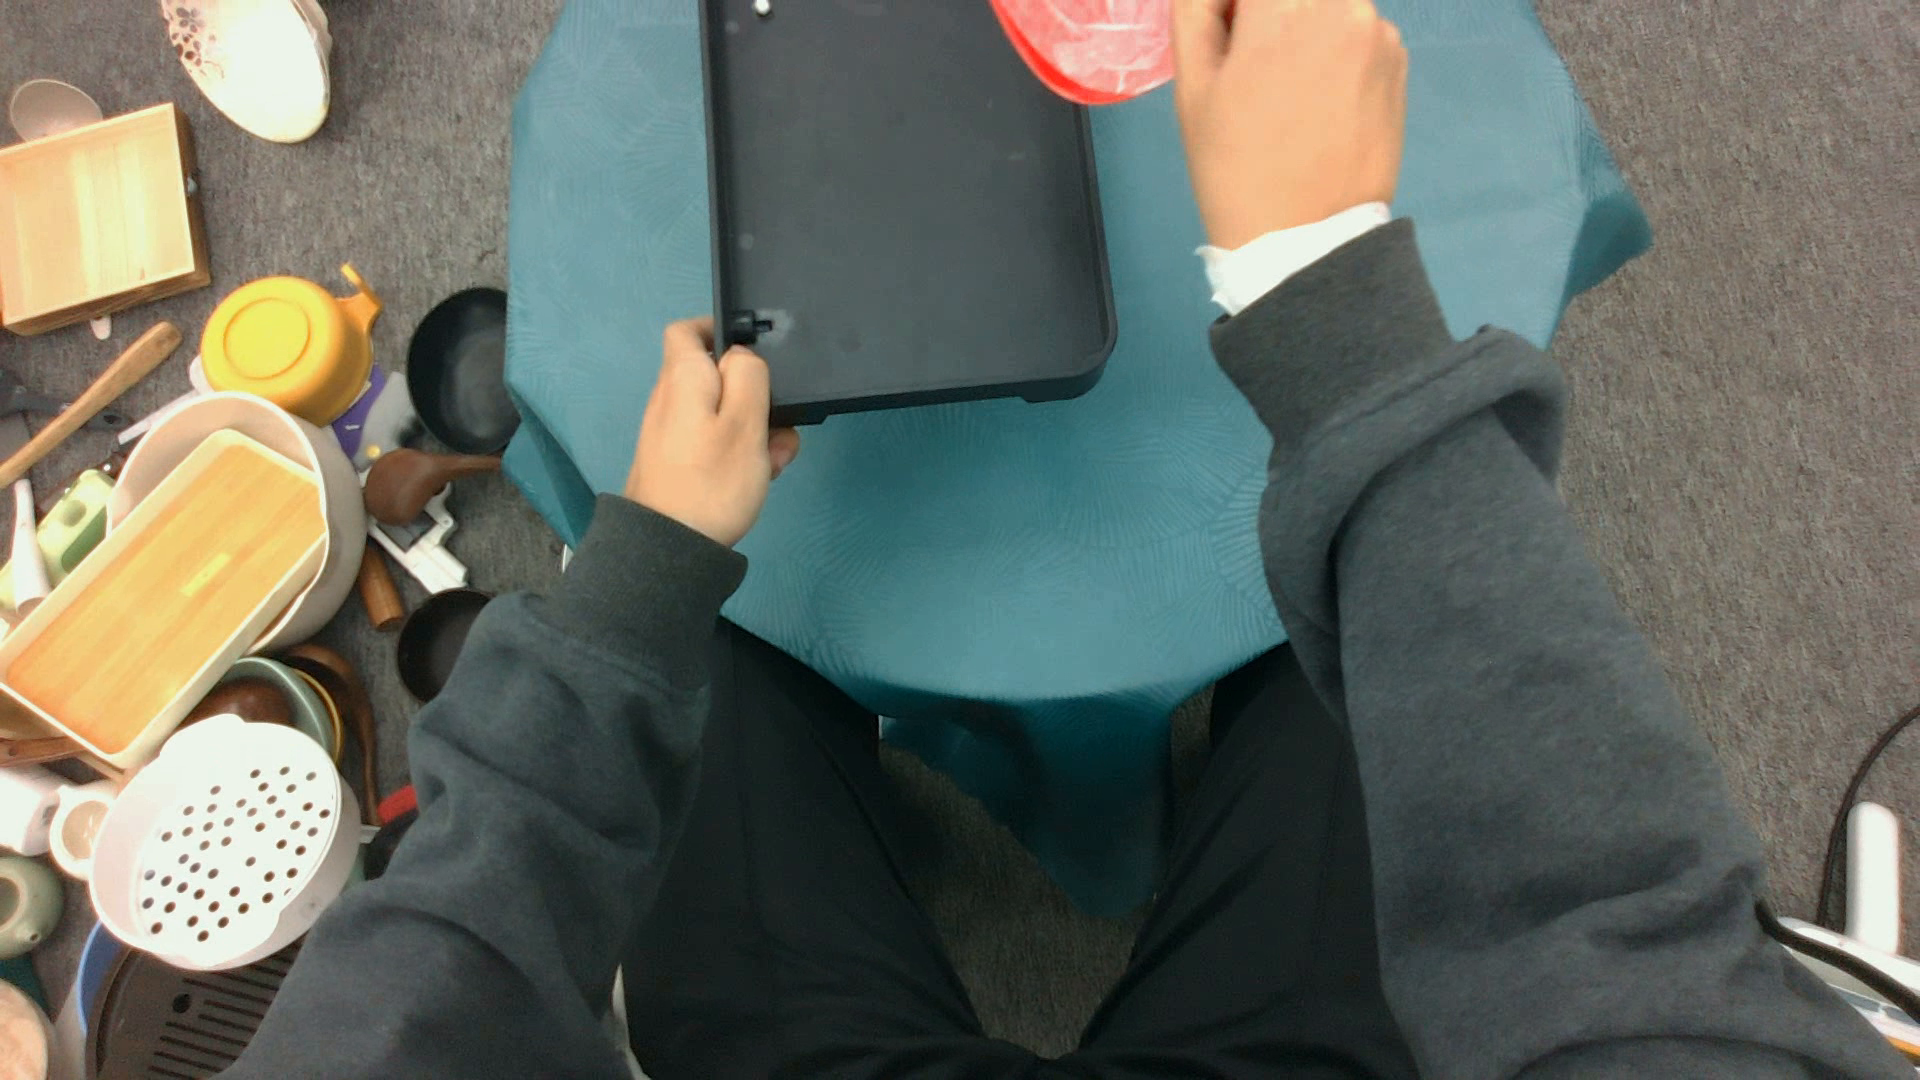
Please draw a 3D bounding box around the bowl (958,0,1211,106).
[{"bbox_3d":[0.053,-0.235,0.540,0.119,0.118,0.051,36,49,12],"label":"bowl"}]

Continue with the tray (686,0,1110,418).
[{"bbox_3d":[-0.038,-0.216,0.673,0.184,0.037,0.319,-6,72,-1],"label":"tray"}]
